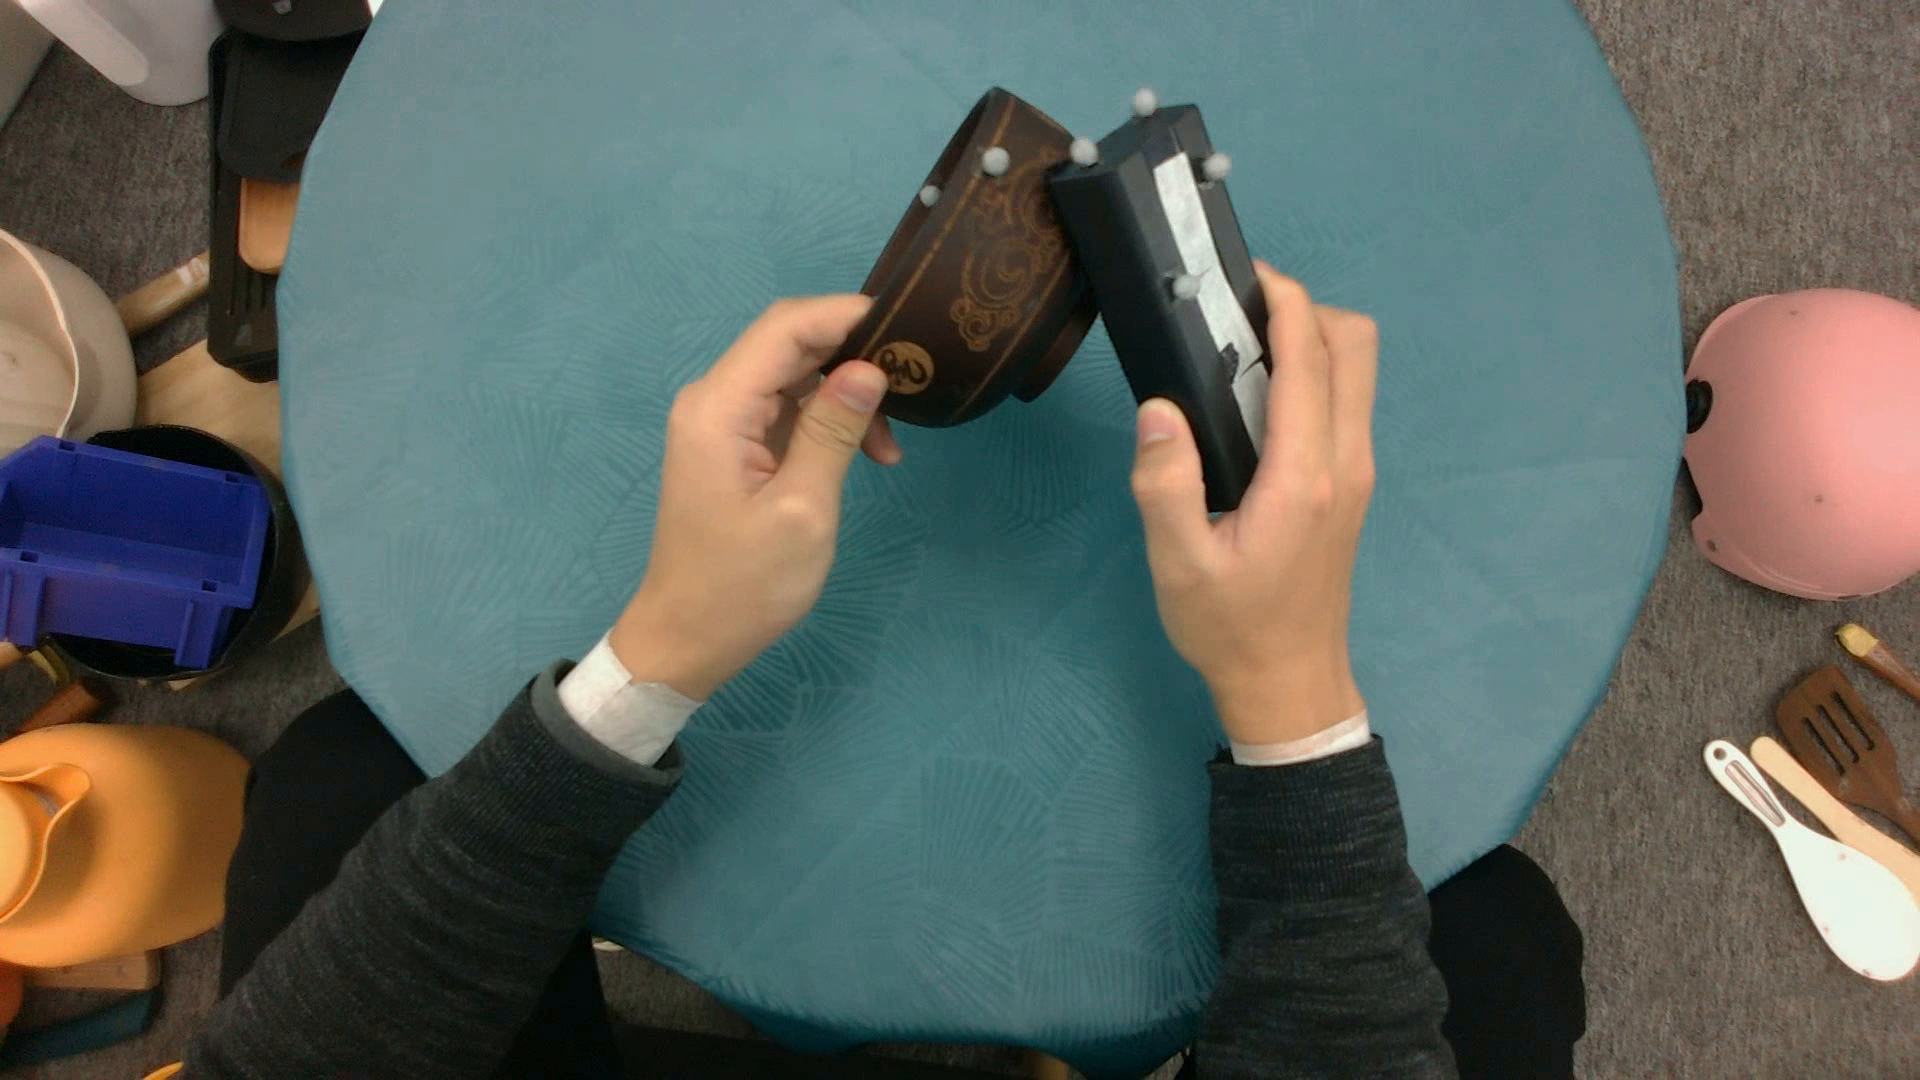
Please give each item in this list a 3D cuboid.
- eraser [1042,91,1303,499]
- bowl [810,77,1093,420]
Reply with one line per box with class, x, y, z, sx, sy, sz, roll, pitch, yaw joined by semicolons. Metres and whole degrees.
eraser;0.073;-0.079;0.457;0.054;0.030;0.125;-42;119;-30
bowl;0.005;-0.094;0.483;0.070;0.118;0.118;29;81;-12
